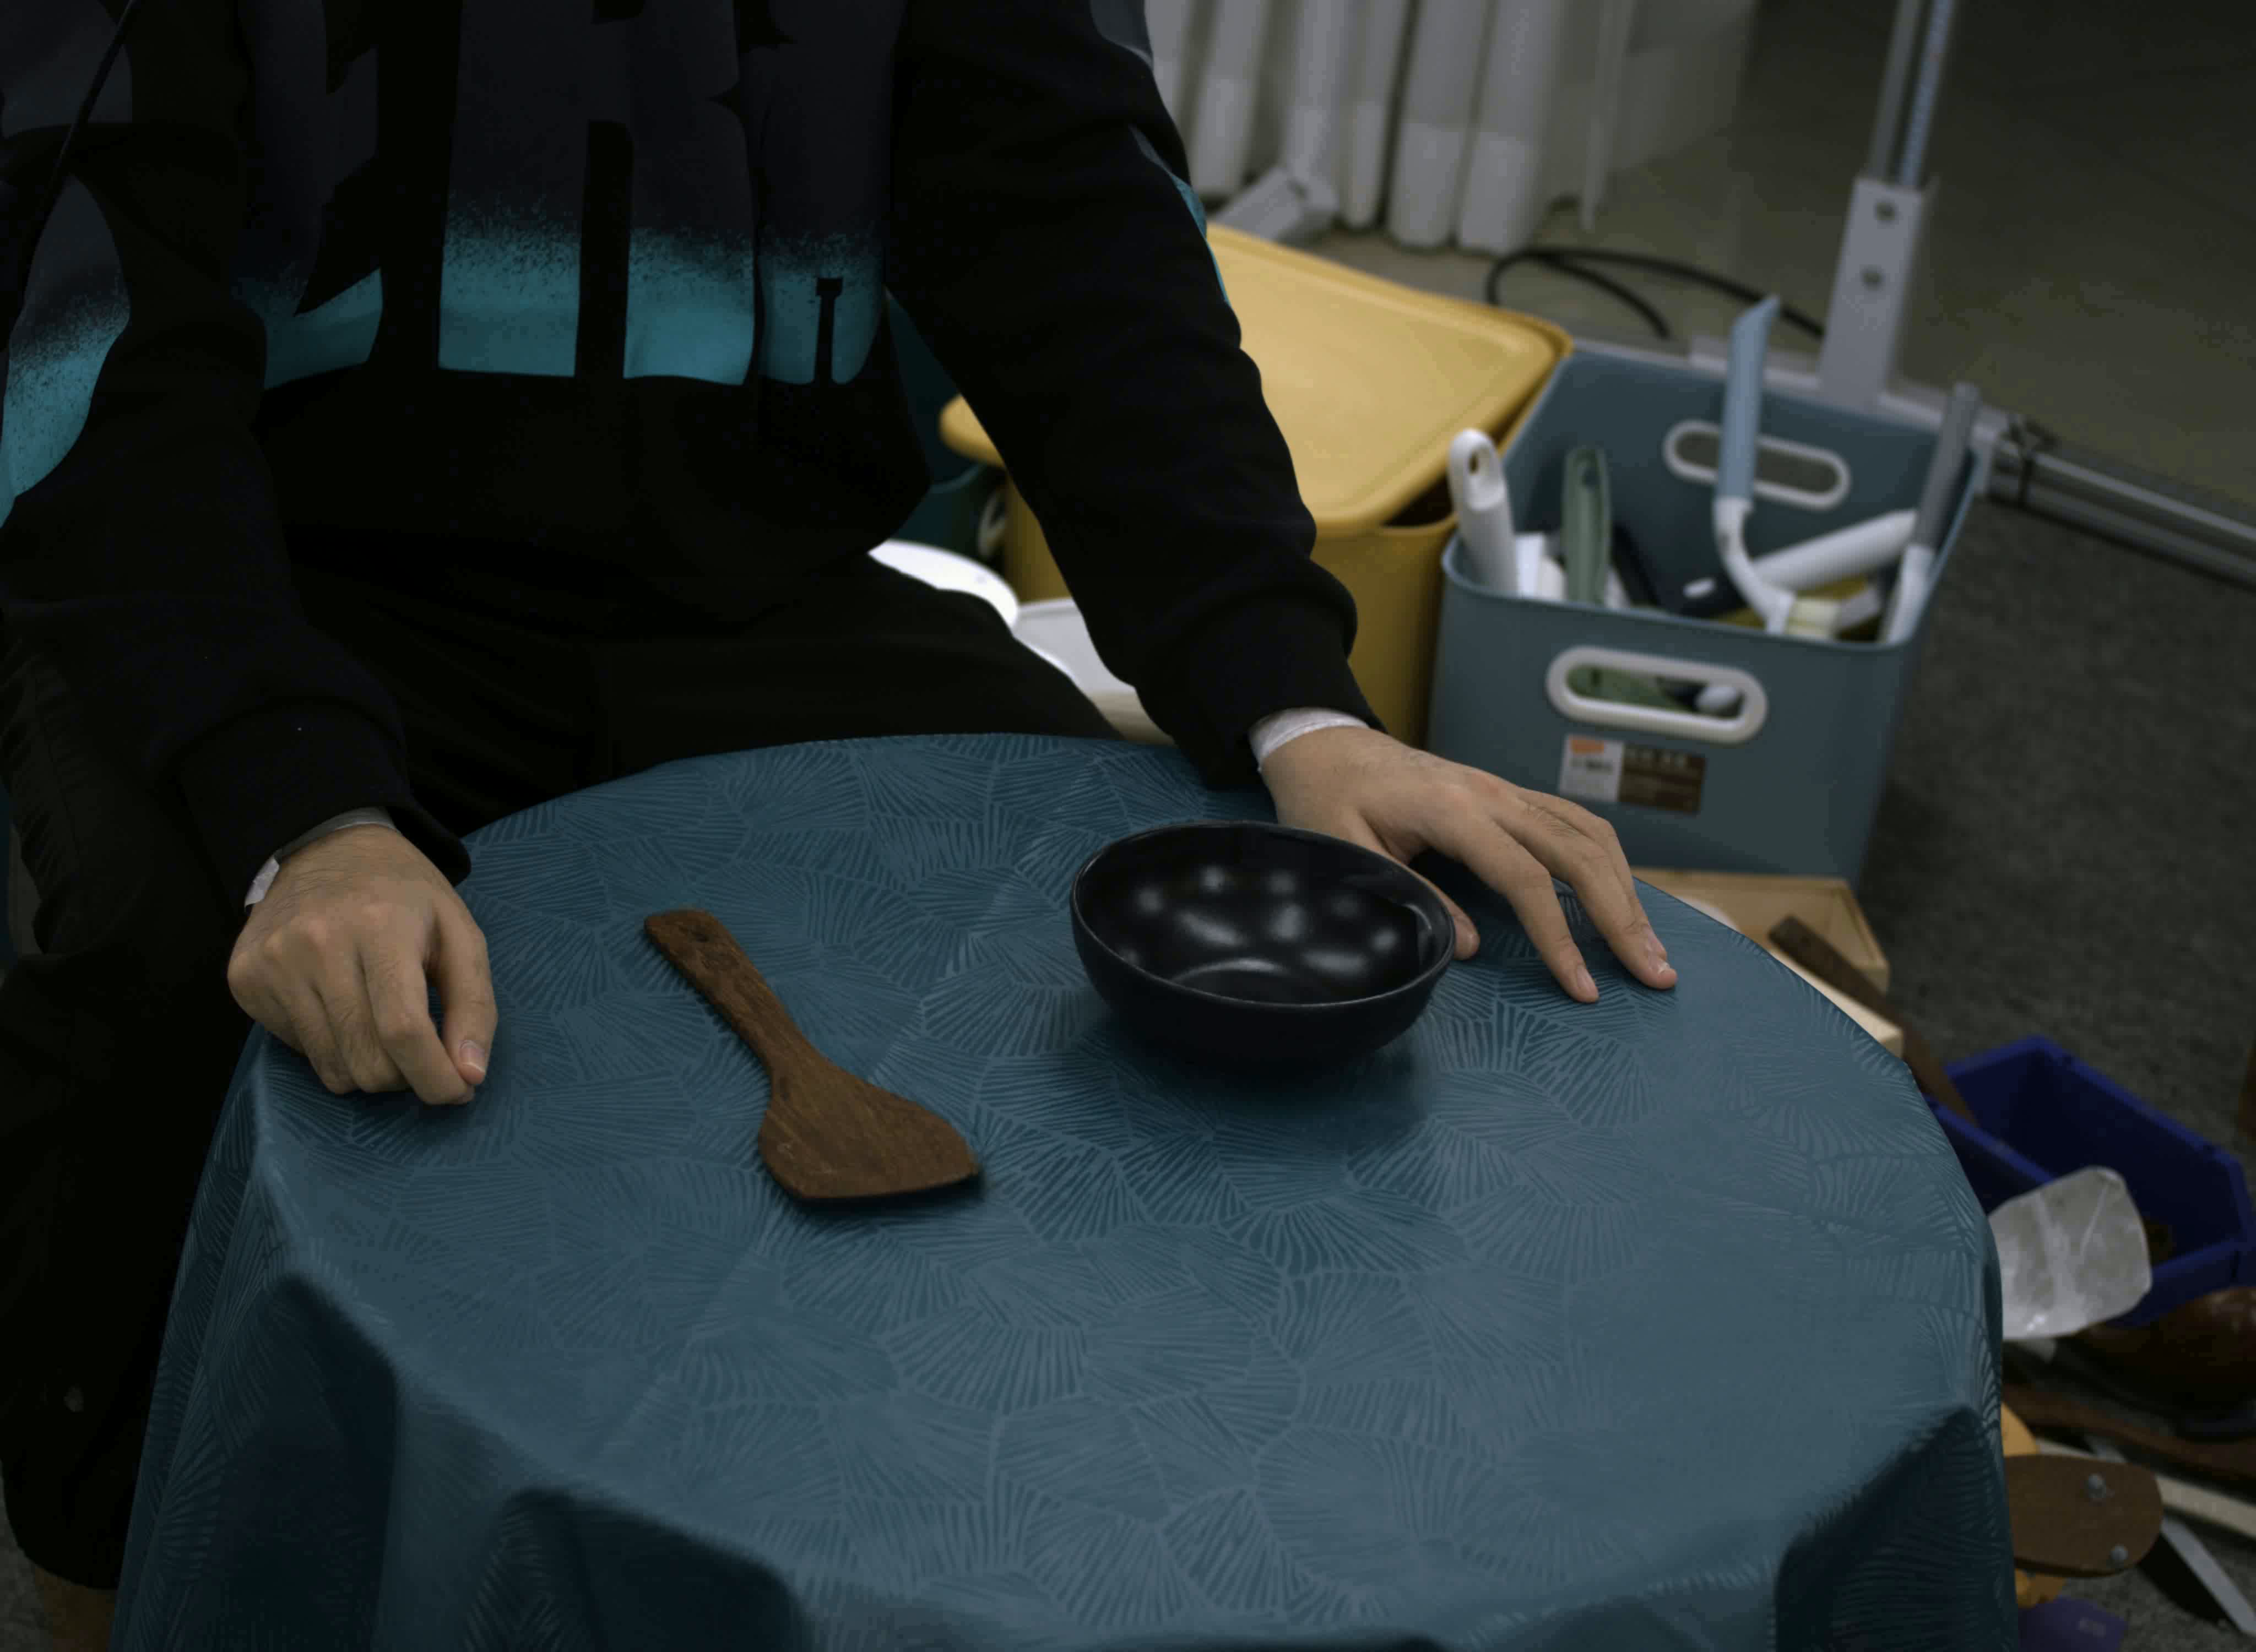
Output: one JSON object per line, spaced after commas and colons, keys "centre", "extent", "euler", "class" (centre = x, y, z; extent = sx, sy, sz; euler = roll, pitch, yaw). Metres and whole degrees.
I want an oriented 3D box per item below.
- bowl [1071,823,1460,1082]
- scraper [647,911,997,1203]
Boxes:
{"centre": [0.048, 0.053, 1.900], "extent": [0.139, 0.049, 0.141], "euler": [3, 28, -2], "class": "bowl"}
{"centre": [-0.119, 0.079, 1.853], "extent": [0.075, 0.011, 0.213], "euler": [-6, 29, -26], "class": "scraper"}
